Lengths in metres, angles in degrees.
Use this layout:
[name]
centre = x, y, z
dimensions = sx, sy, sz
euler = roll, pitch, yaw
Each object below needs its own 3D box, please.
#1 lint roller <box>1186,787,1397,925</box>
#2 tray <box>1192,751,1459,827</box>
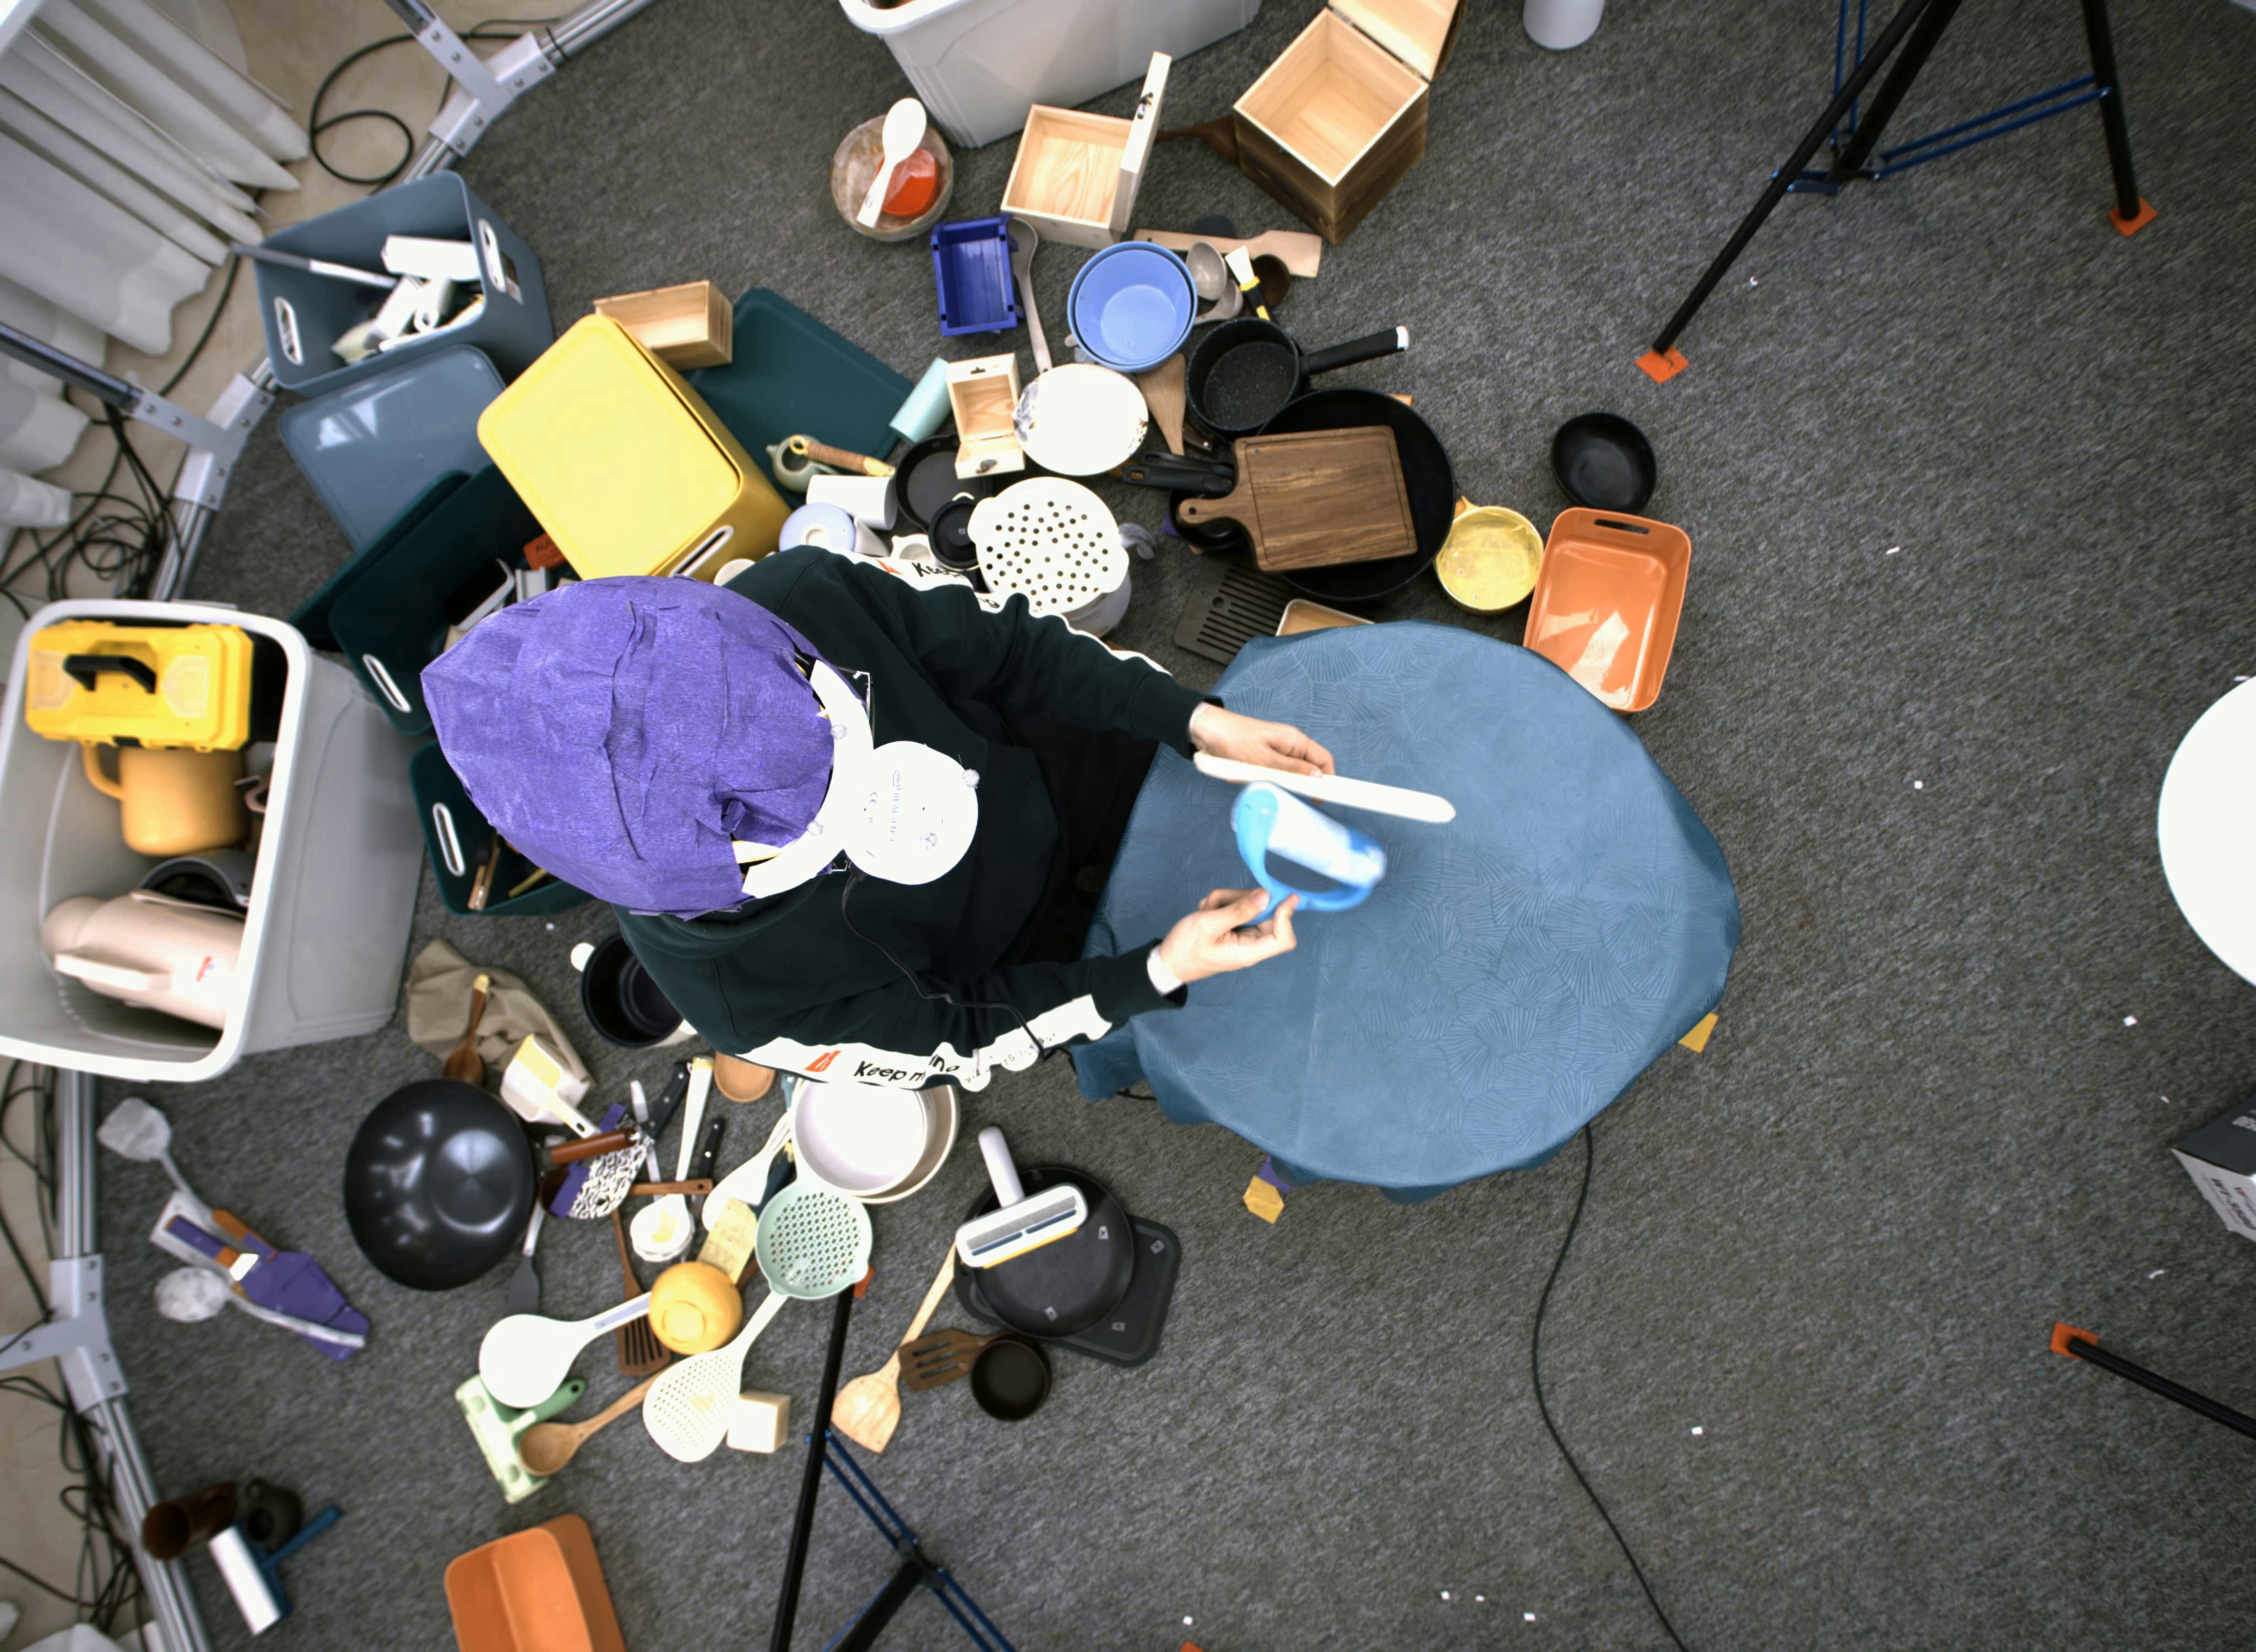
[lint roller]
centre = 0.134, 0.051, 1.267
dimensions = 0.183, 0.229, 0.066
euler = -41, 57, 25
[tray]
centre = 0.177, -0.035, 1.265
dimensions = 0.240, 0.170, 0.017
euler = 12, 97, 5
